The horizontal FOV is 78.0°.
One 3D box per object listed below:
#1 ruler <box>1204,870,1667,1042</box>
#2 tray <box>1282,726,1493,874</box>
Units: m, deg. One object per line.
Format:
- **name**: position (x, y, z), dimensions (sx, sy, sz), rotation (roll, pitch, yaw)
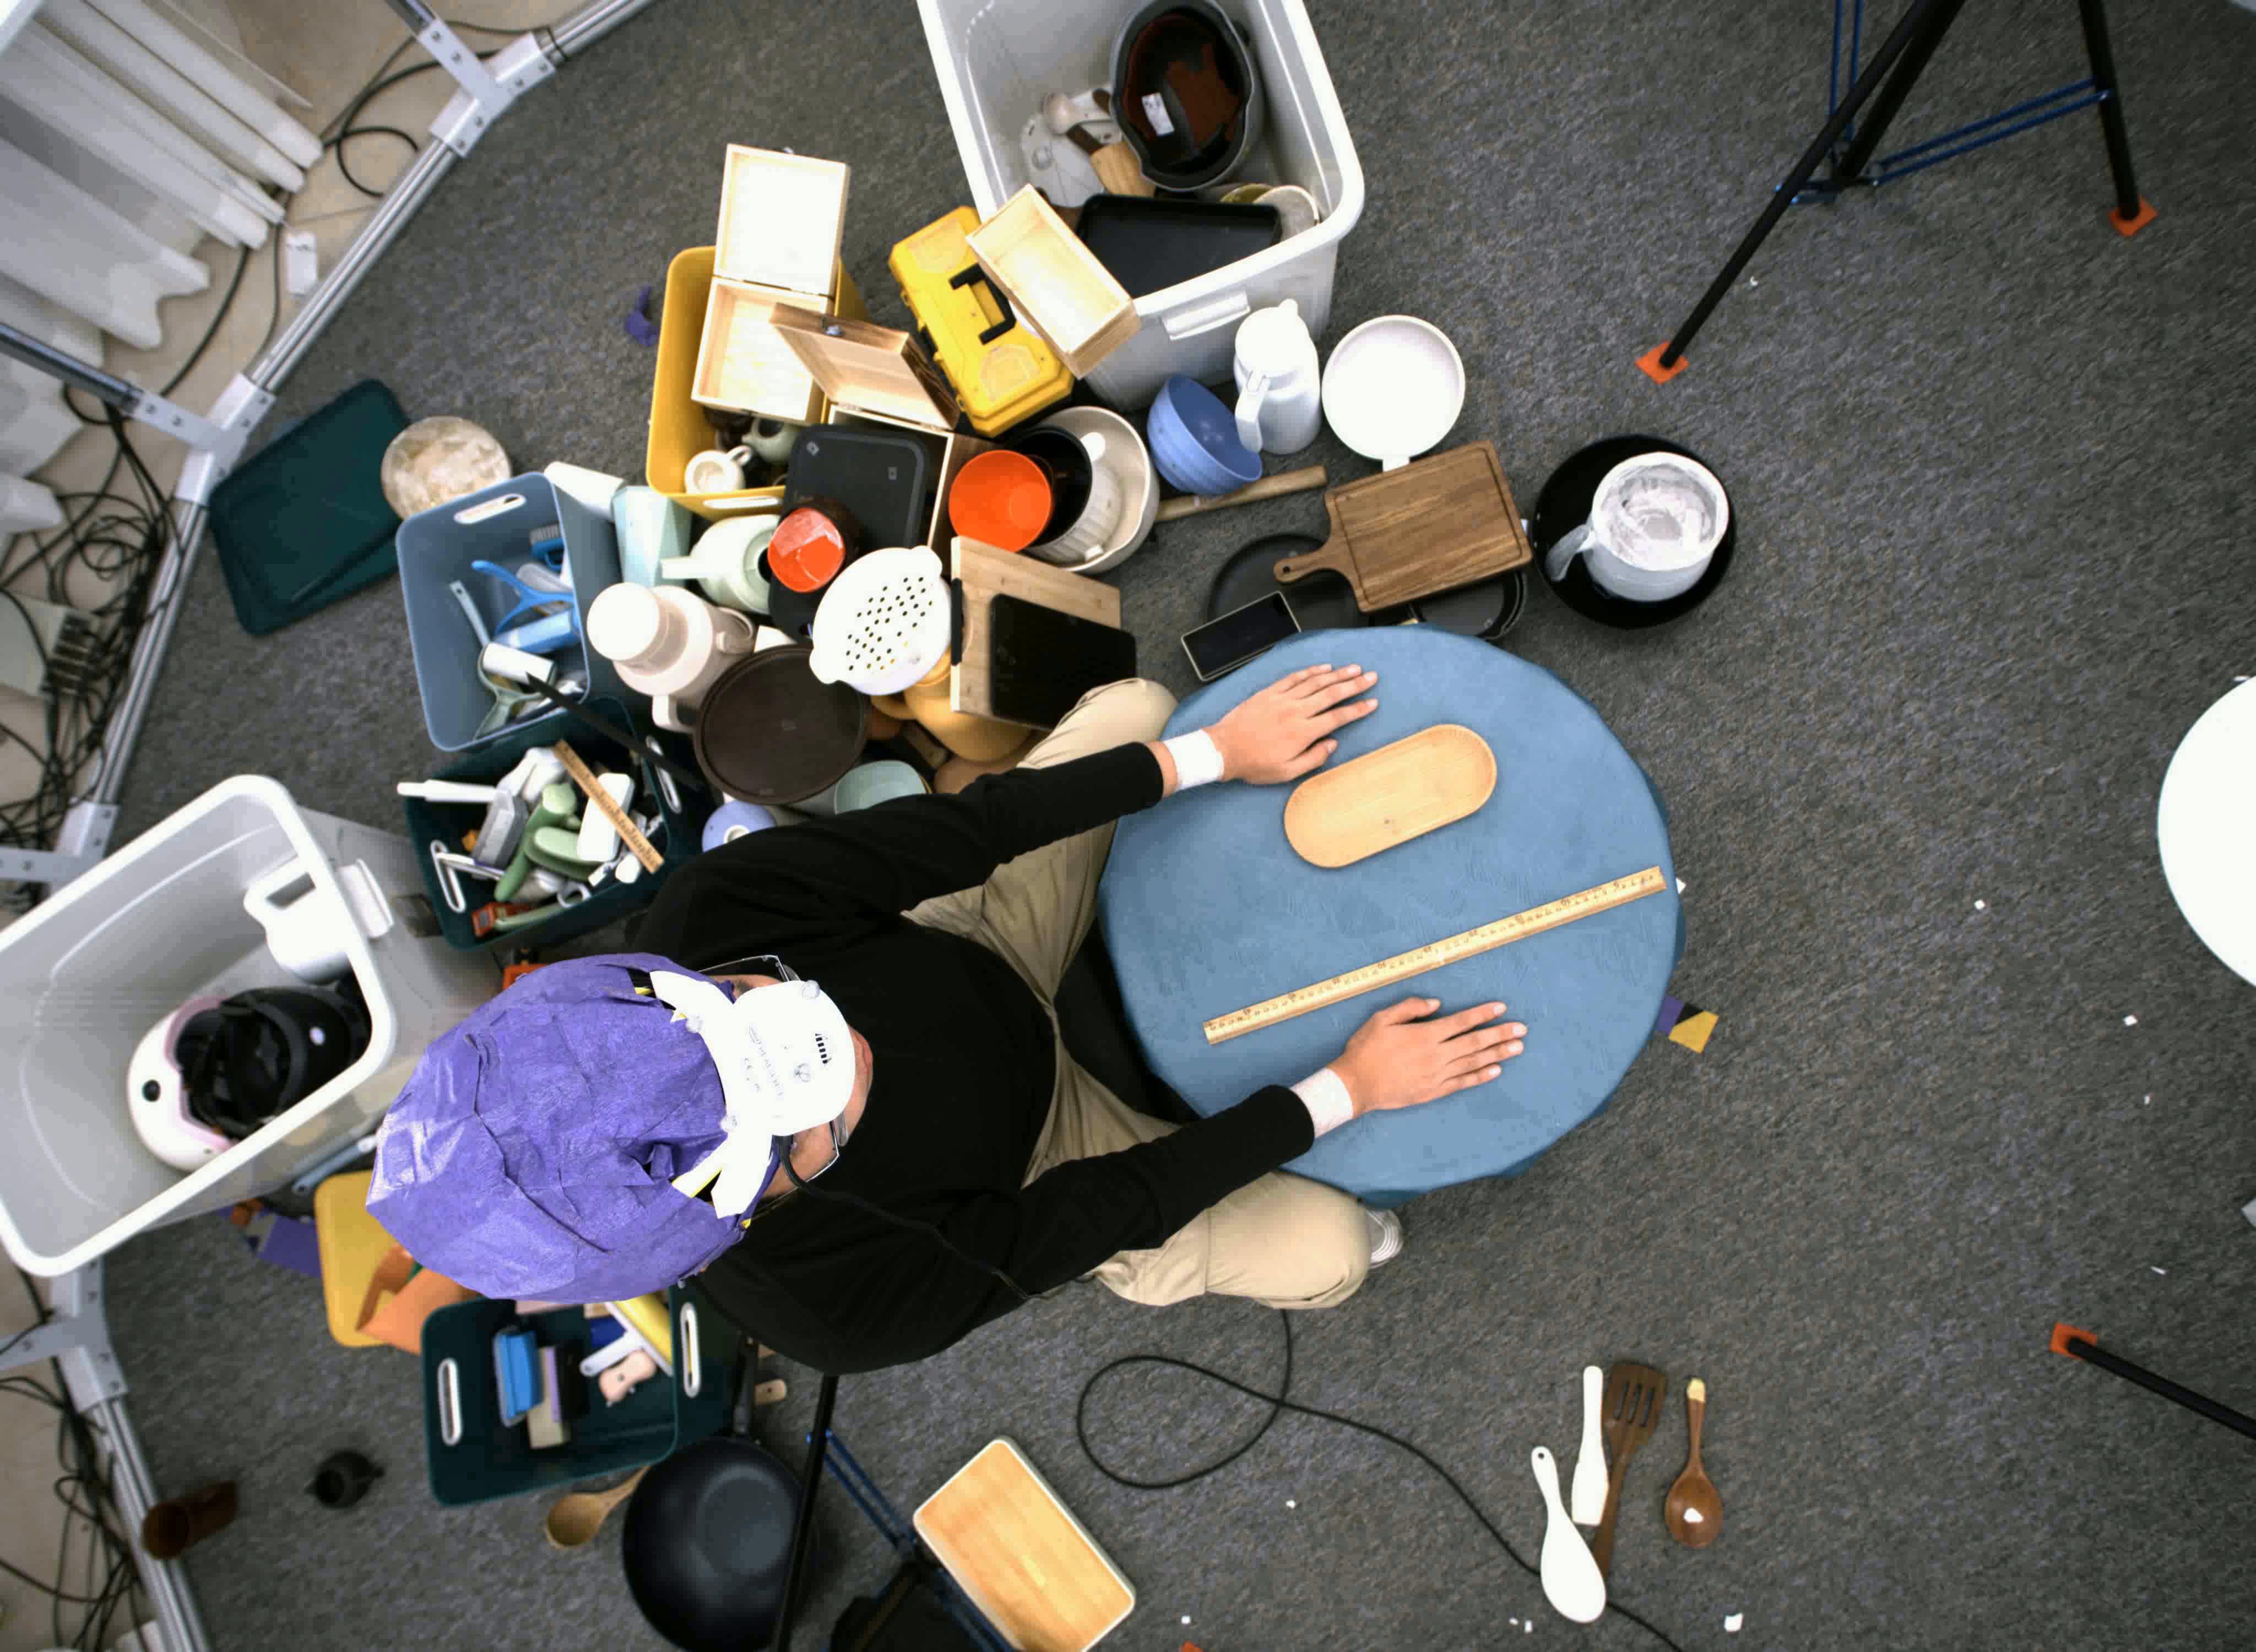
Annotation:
- **ruler**: position (0.317, 0.135, 1.445), dimensions (0.503, 0.006, 0.026), rotation (-20, 82, 9)
- **tray**: position (0.274, -0.029, 1.457), dimensions (0.233, 0.020, 0.101), rotation (-26, 81, 10)
